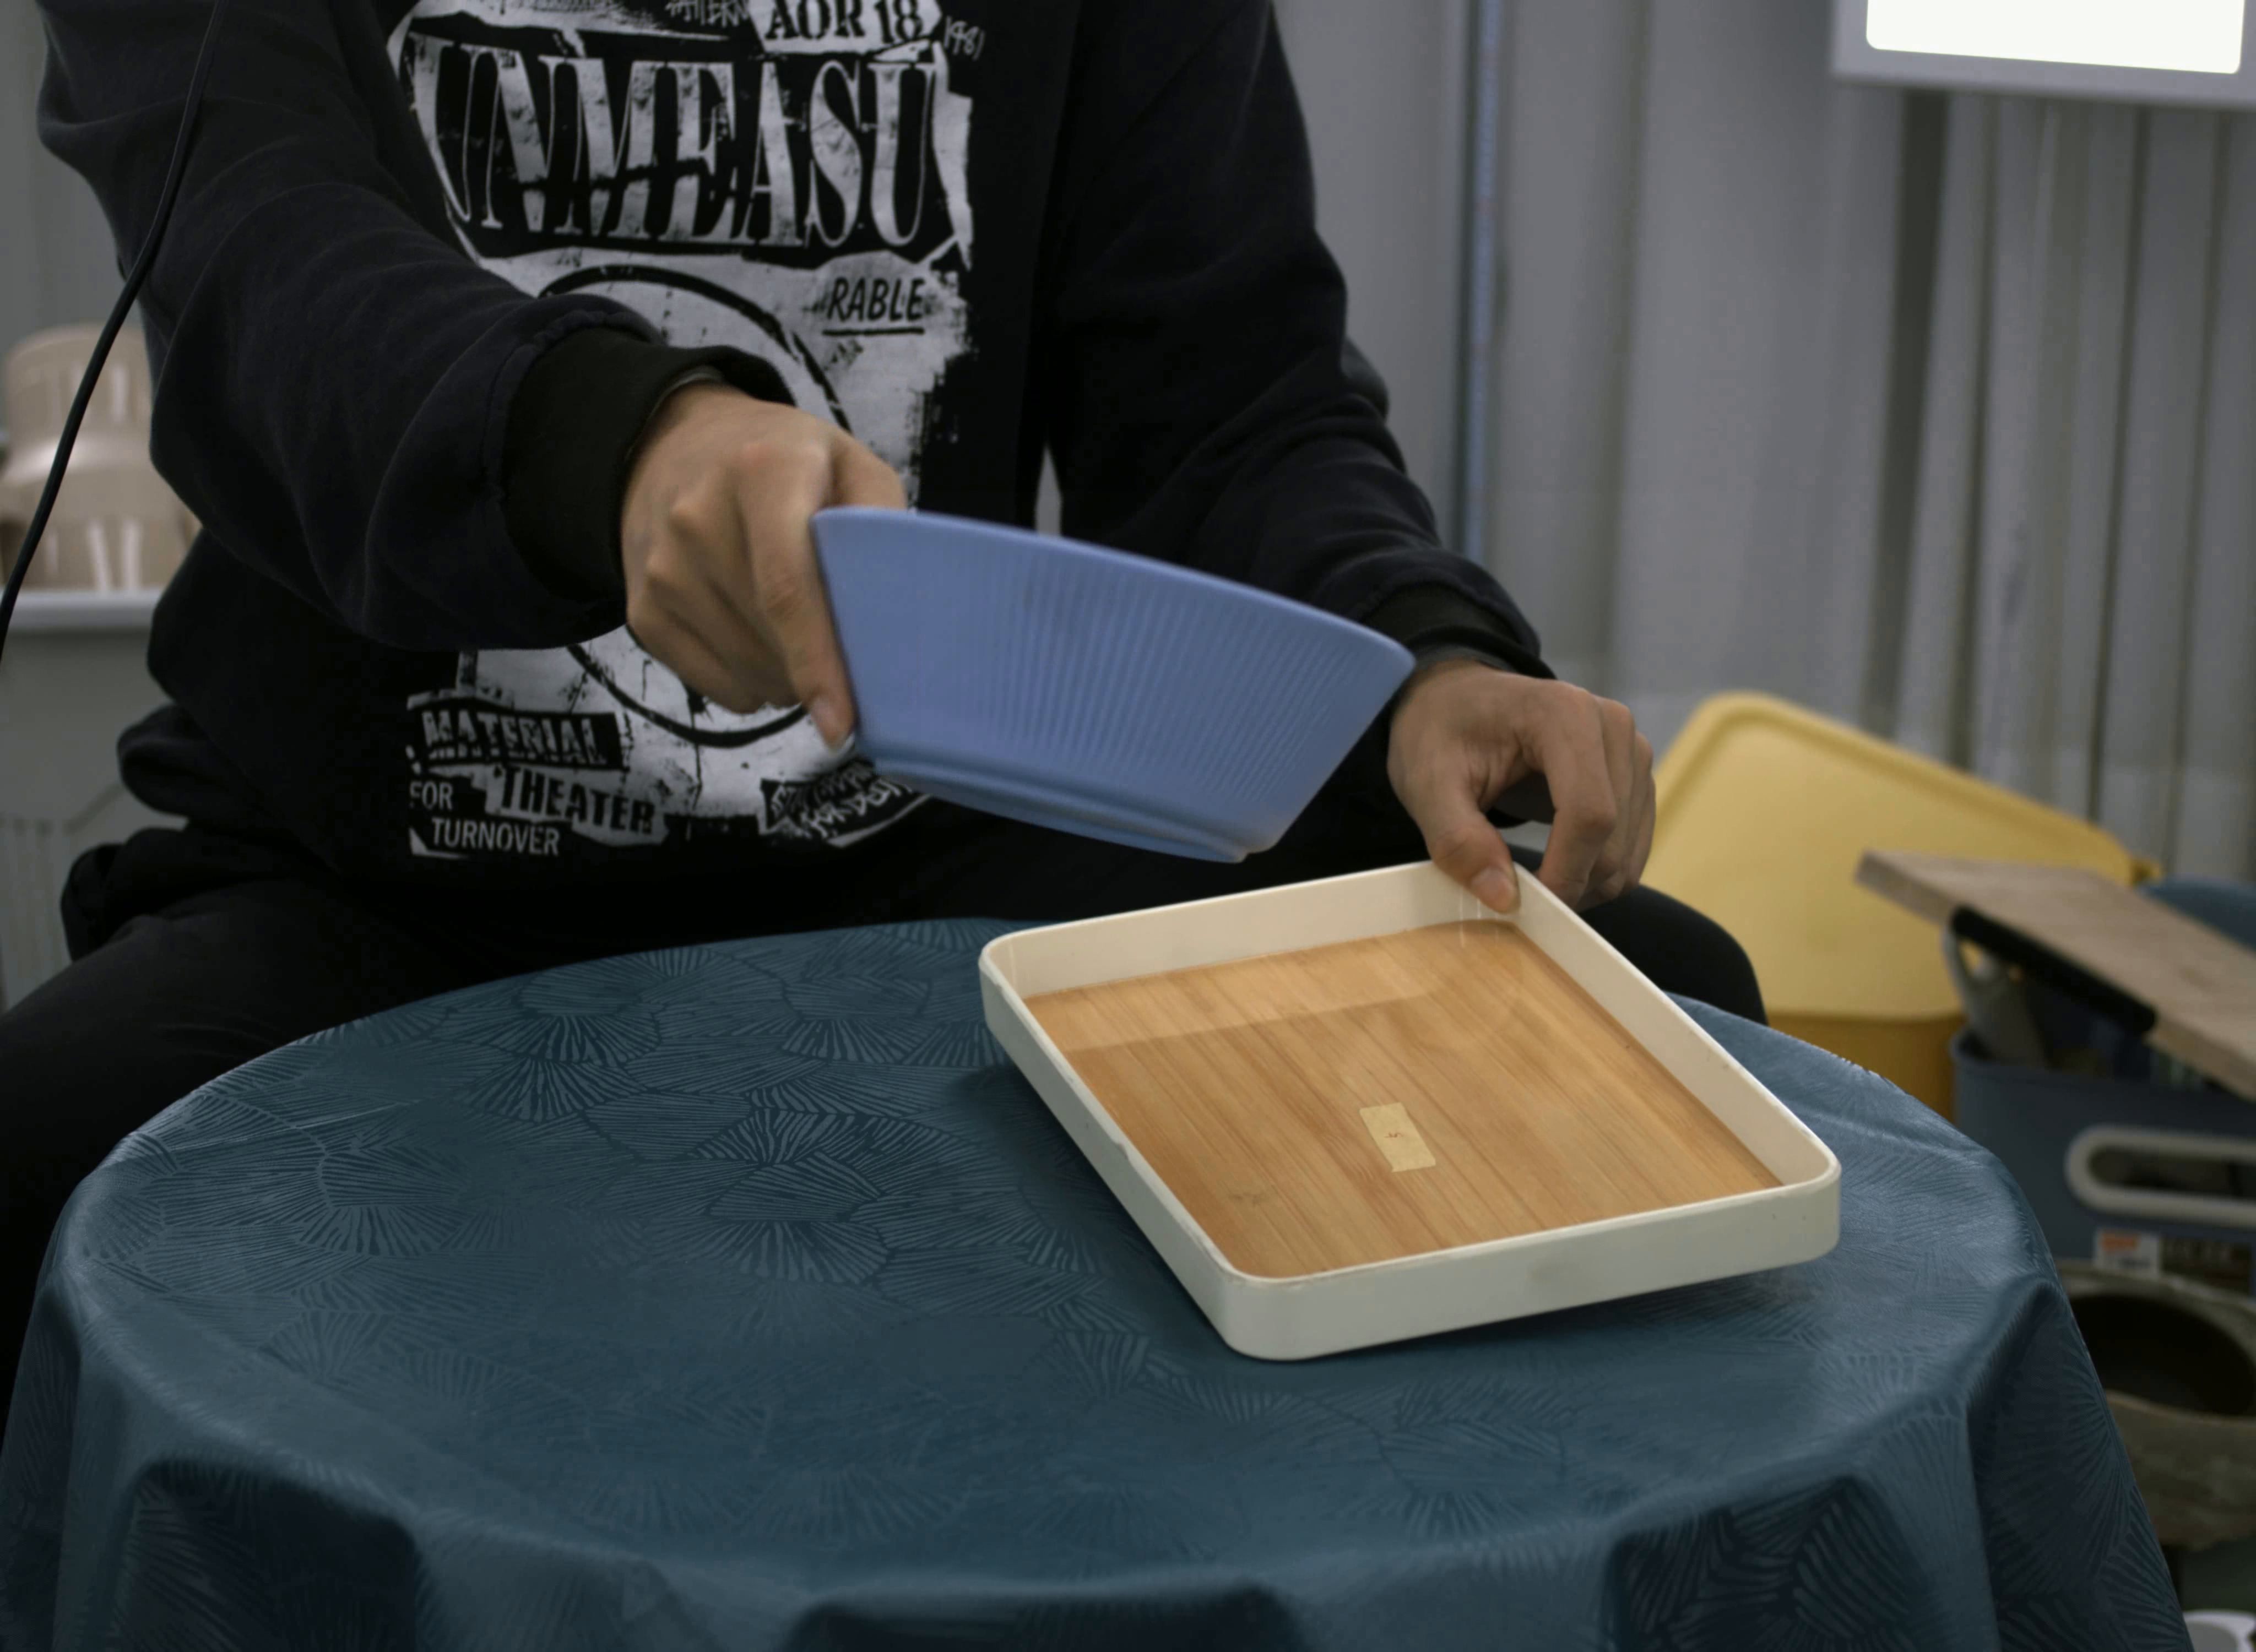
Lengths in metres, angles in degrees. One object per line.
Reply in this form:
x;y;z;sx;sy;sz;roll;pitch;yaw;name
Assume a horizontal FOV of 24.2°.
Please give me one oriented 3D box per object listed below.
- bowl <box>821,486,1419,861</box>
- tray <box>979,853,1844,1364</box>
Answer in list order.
-0.011;-0.038;1.487;0.175;0.070;0.176;16;-5;2;bowl
0.080;0.082;1.635;0.192;0.027;0.297;-9;22;-15;tray
